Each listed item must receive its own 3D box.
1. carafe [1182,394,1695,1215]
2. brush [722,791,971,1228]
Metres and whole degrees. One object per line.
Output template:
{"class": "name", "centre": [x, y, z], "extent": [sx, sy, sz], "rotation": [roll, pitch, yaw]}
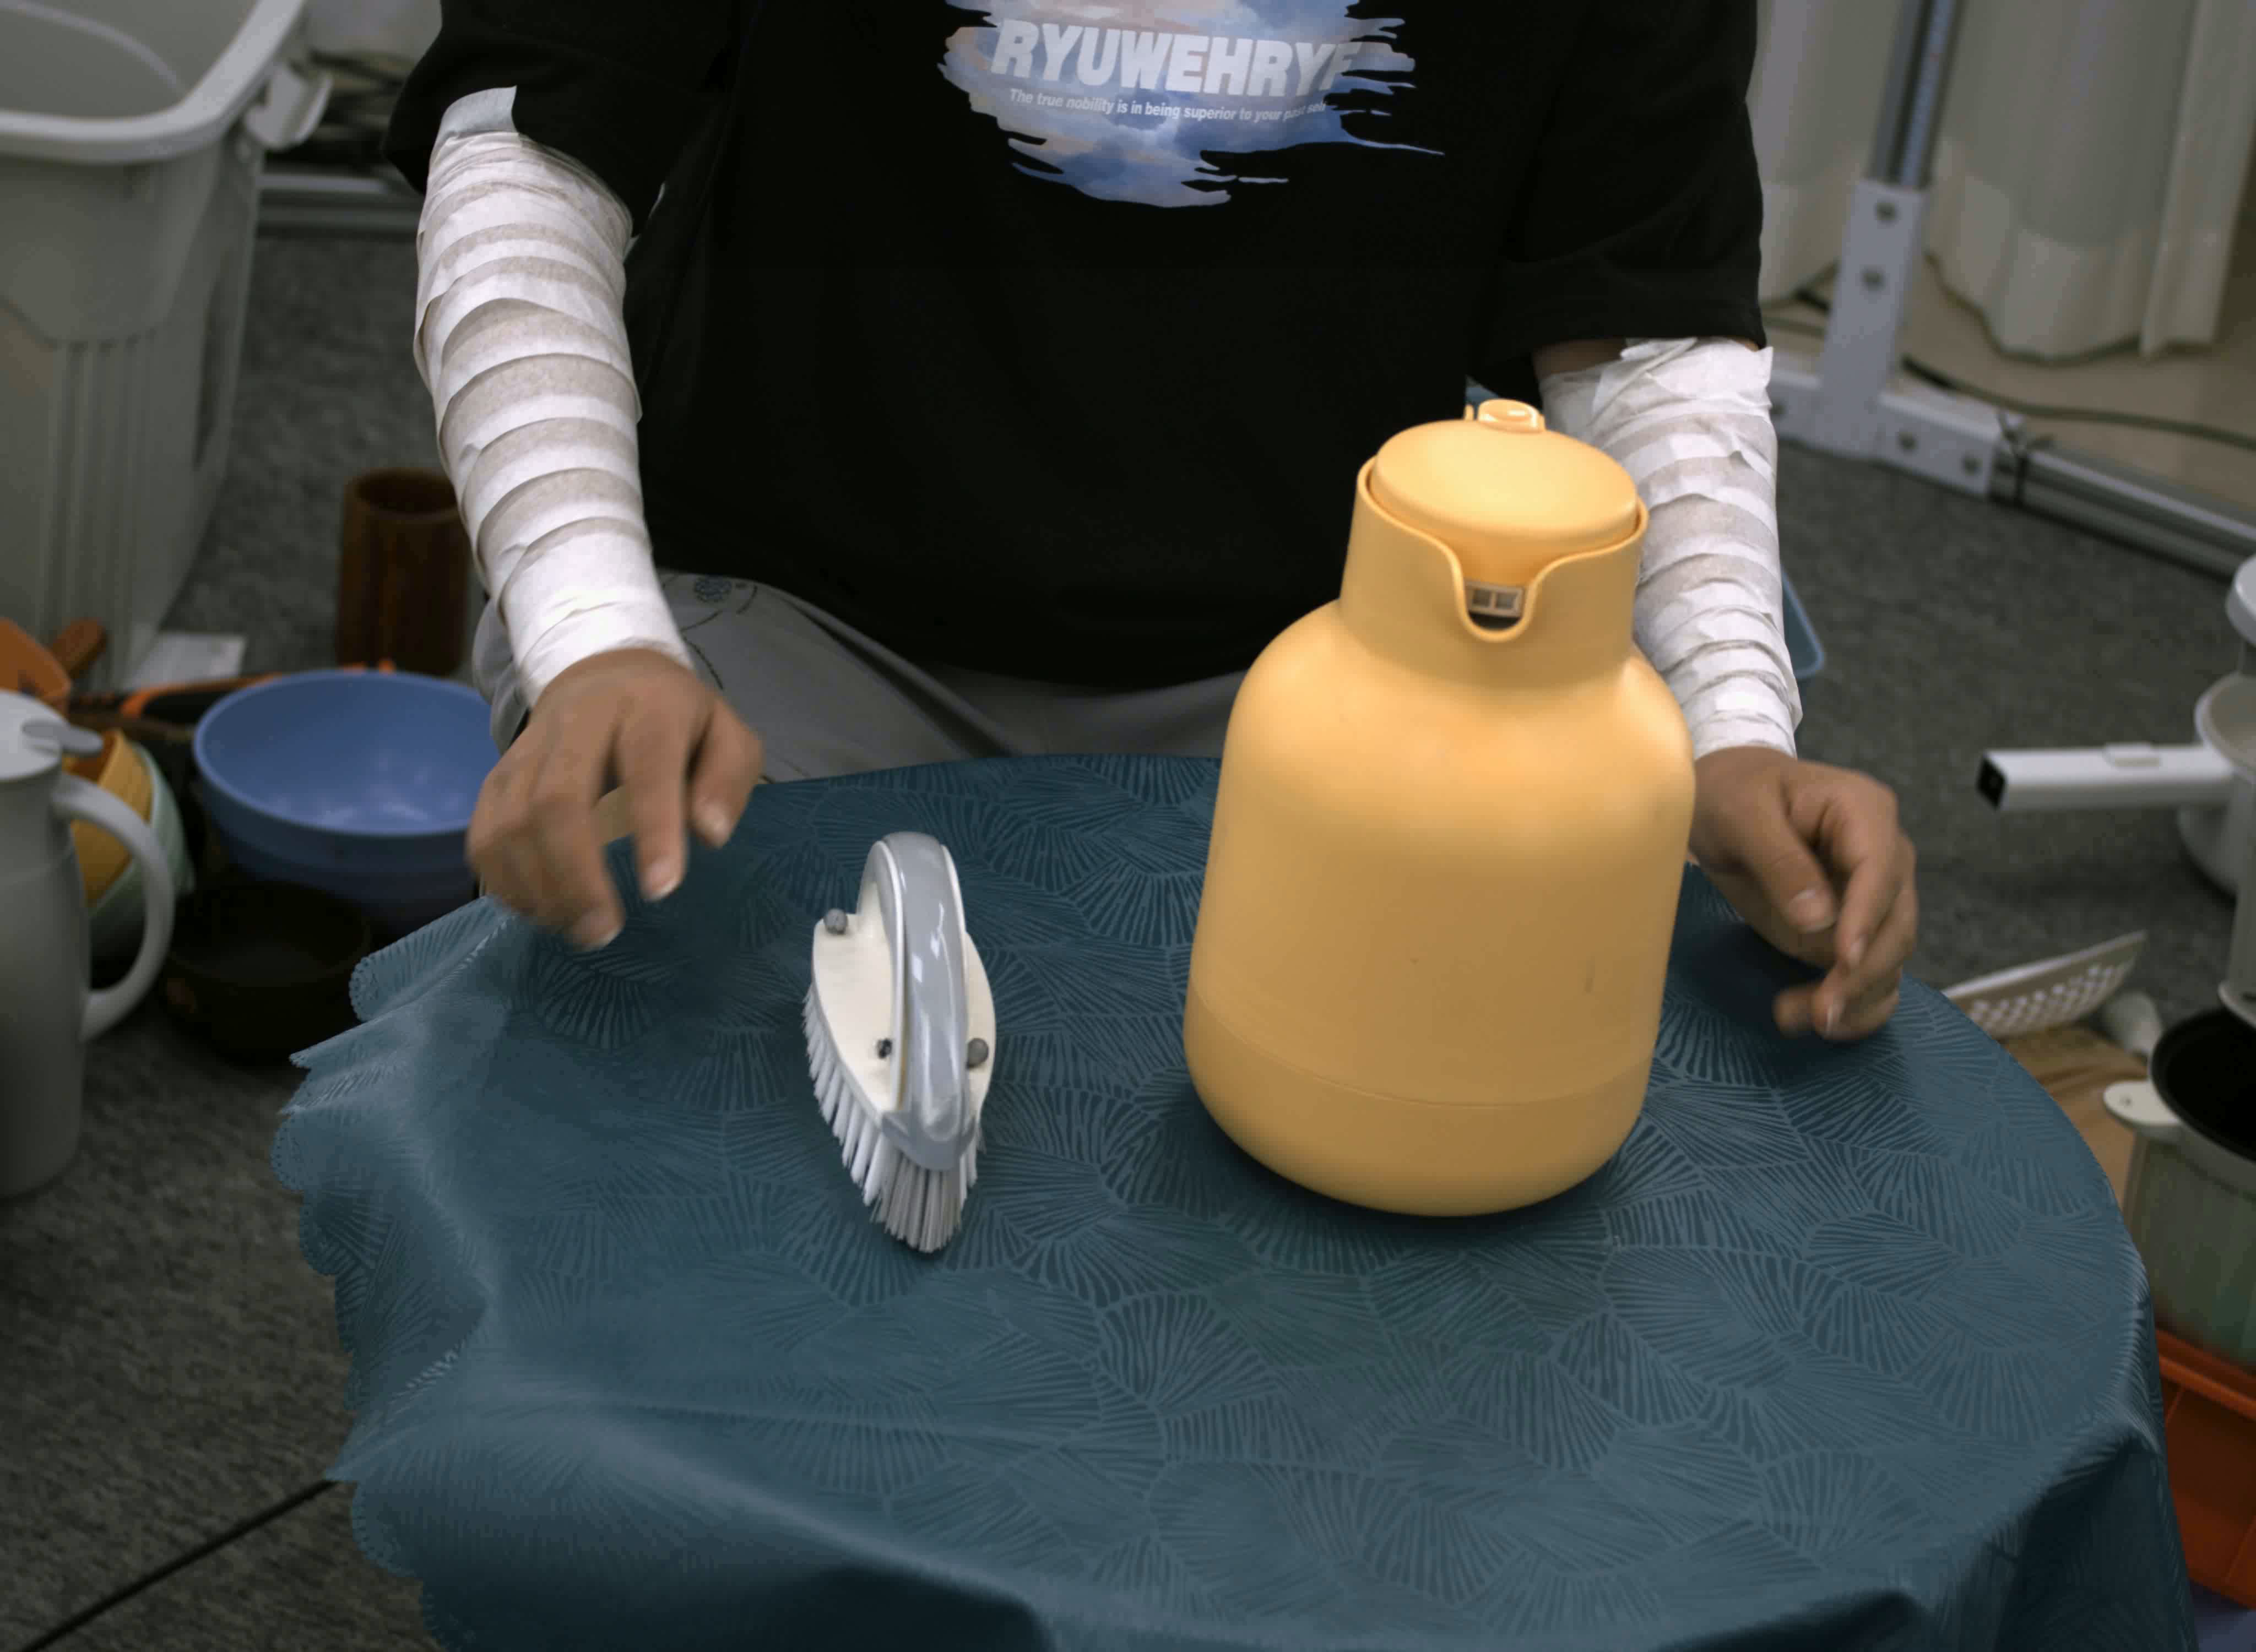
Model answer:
{"class": "carafe", "centre": [0.114, -0.016, 1.820], "extent": [0.163, 0.259, 0.203], "rotation": [10, 28, 3]}
{"class": "brush", "centre": [-0.088, 0.054, 1.813], "extent": [0.061, 0.094, 0.177], "rotation": [-10, 36, -20]}
